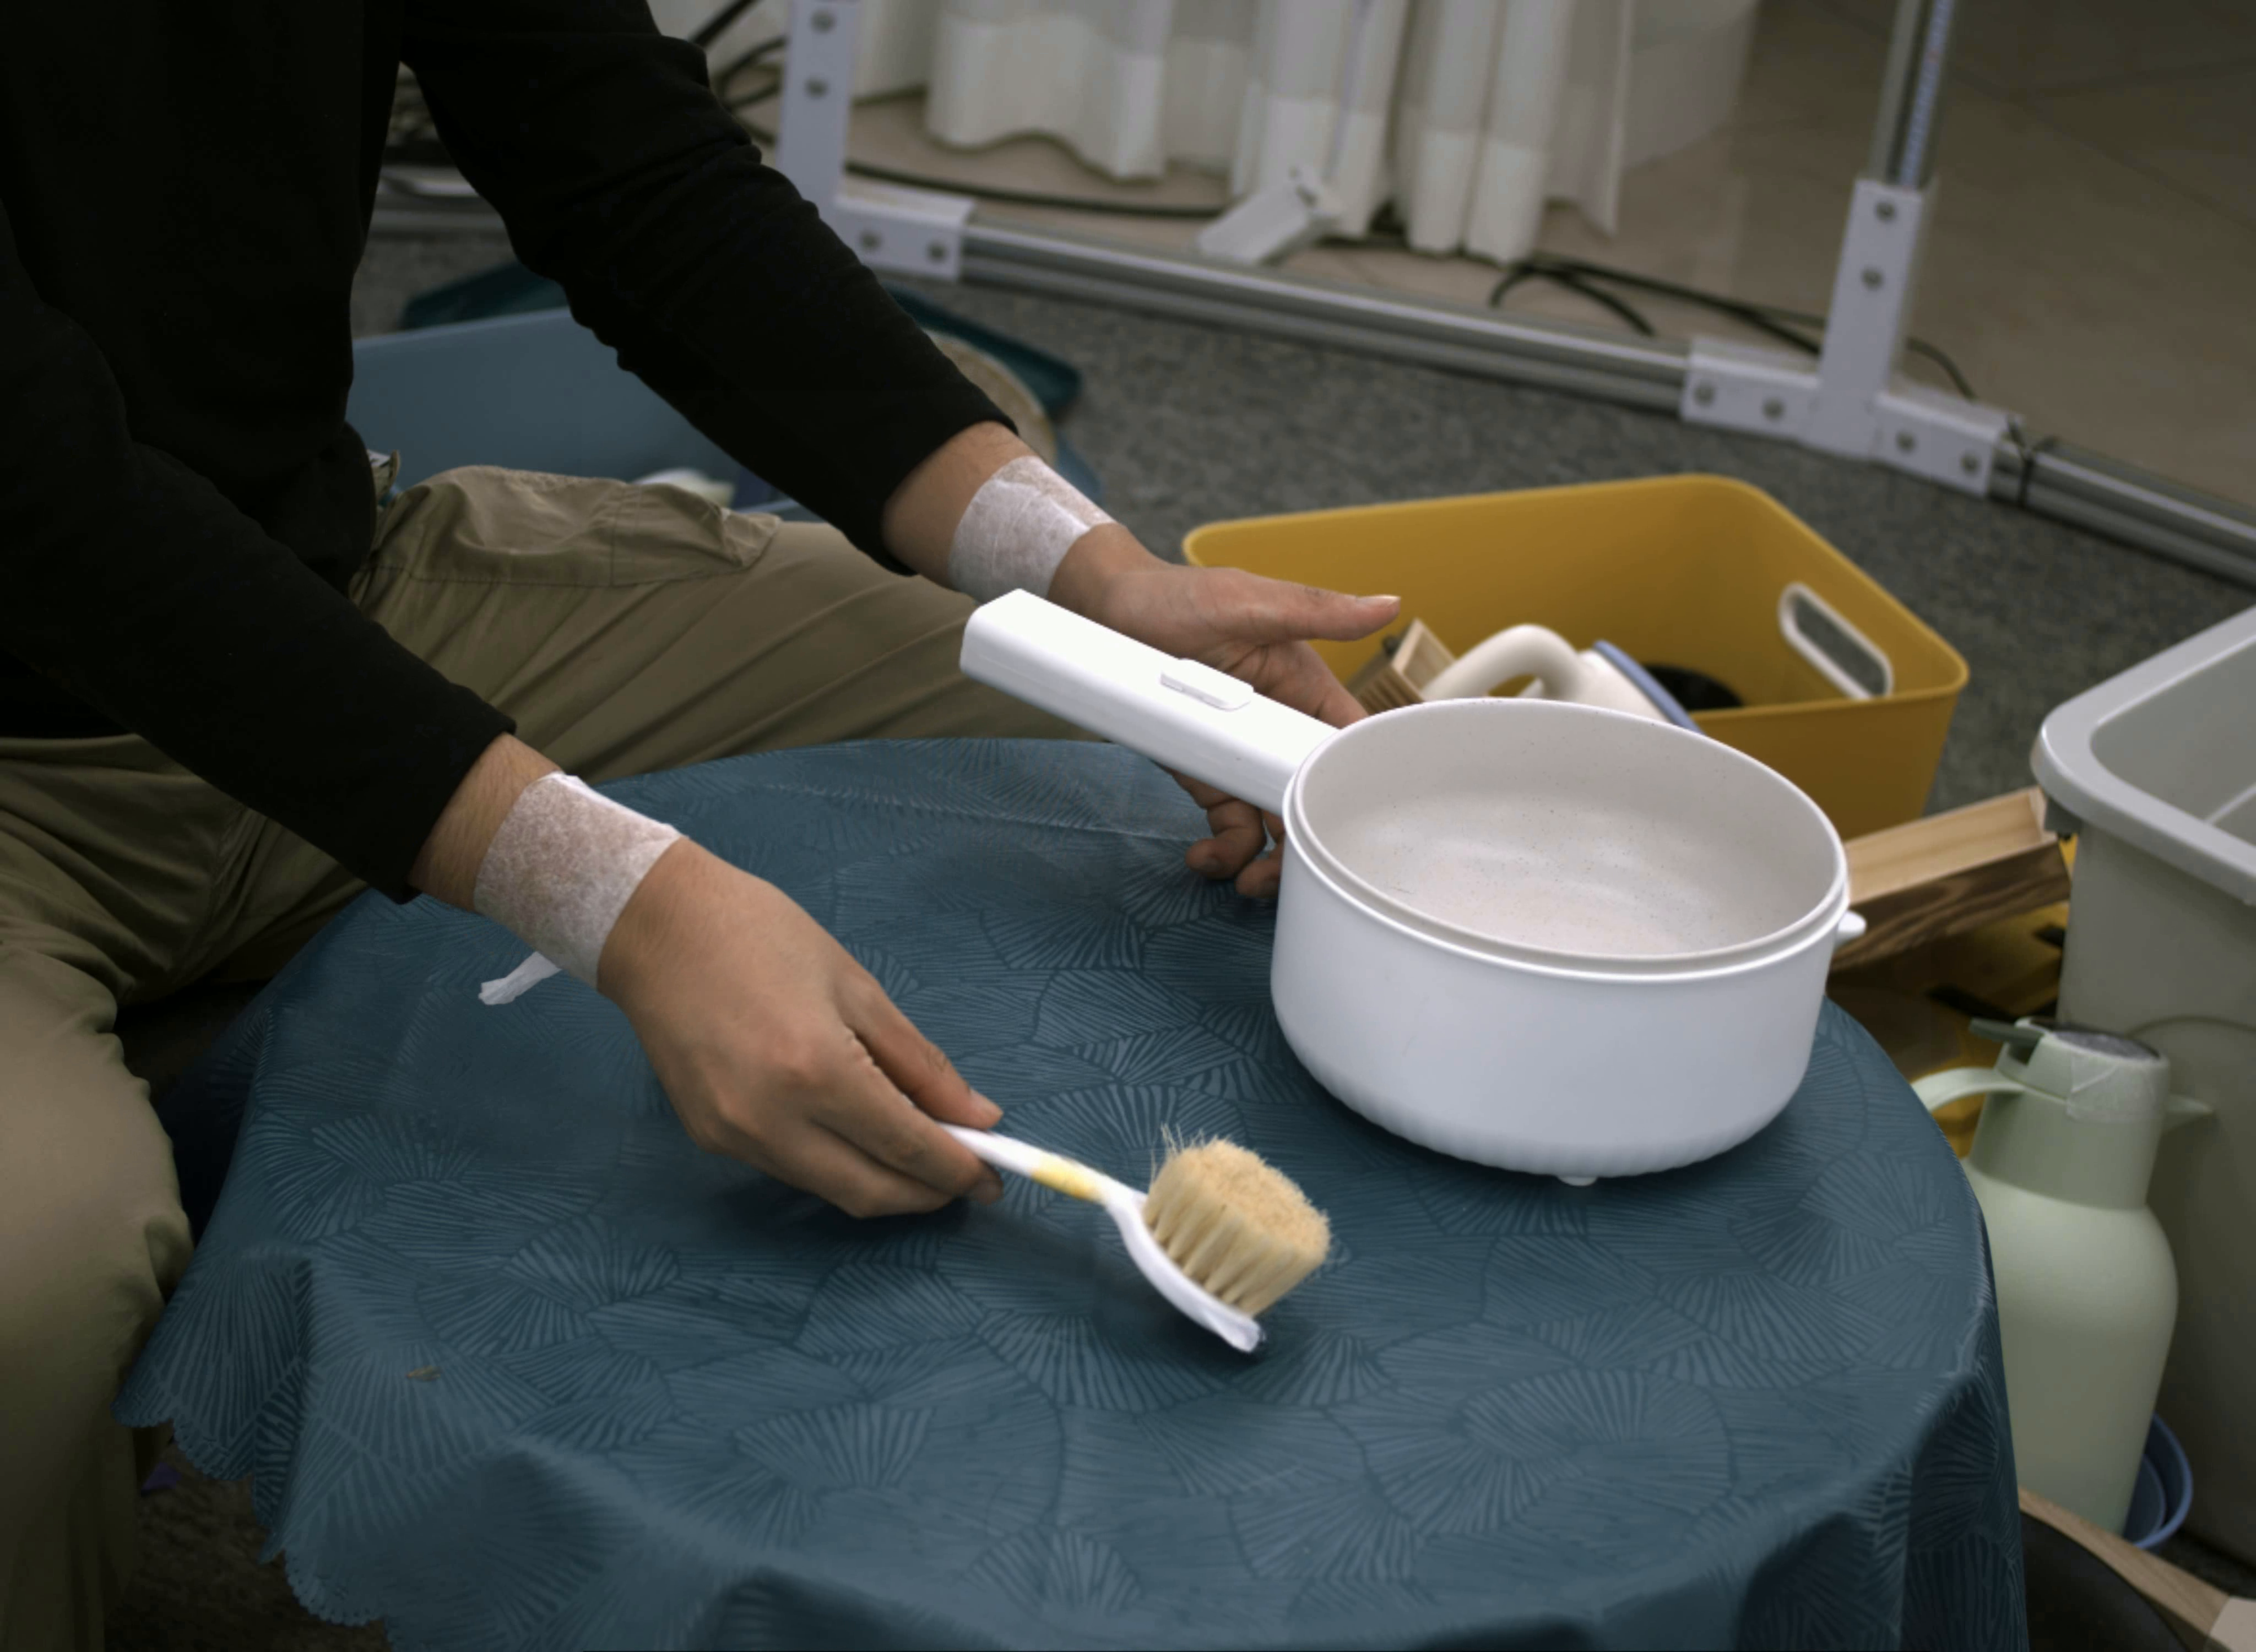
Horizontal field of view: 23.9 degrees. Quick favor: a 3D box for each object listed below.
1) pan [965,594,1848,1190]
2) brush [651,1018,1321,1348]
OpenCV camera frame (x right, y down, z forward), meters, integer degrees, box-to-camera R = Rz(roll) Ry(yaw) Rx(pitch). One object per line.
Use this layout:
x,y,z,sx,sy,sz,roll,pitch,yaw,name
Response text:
0.087,0.019,1.922,0.357,0.102,0.200,23,32,30,pan
-0.050,0.096,1.768,0.268,0.056,0.068,25,1,32,brush
